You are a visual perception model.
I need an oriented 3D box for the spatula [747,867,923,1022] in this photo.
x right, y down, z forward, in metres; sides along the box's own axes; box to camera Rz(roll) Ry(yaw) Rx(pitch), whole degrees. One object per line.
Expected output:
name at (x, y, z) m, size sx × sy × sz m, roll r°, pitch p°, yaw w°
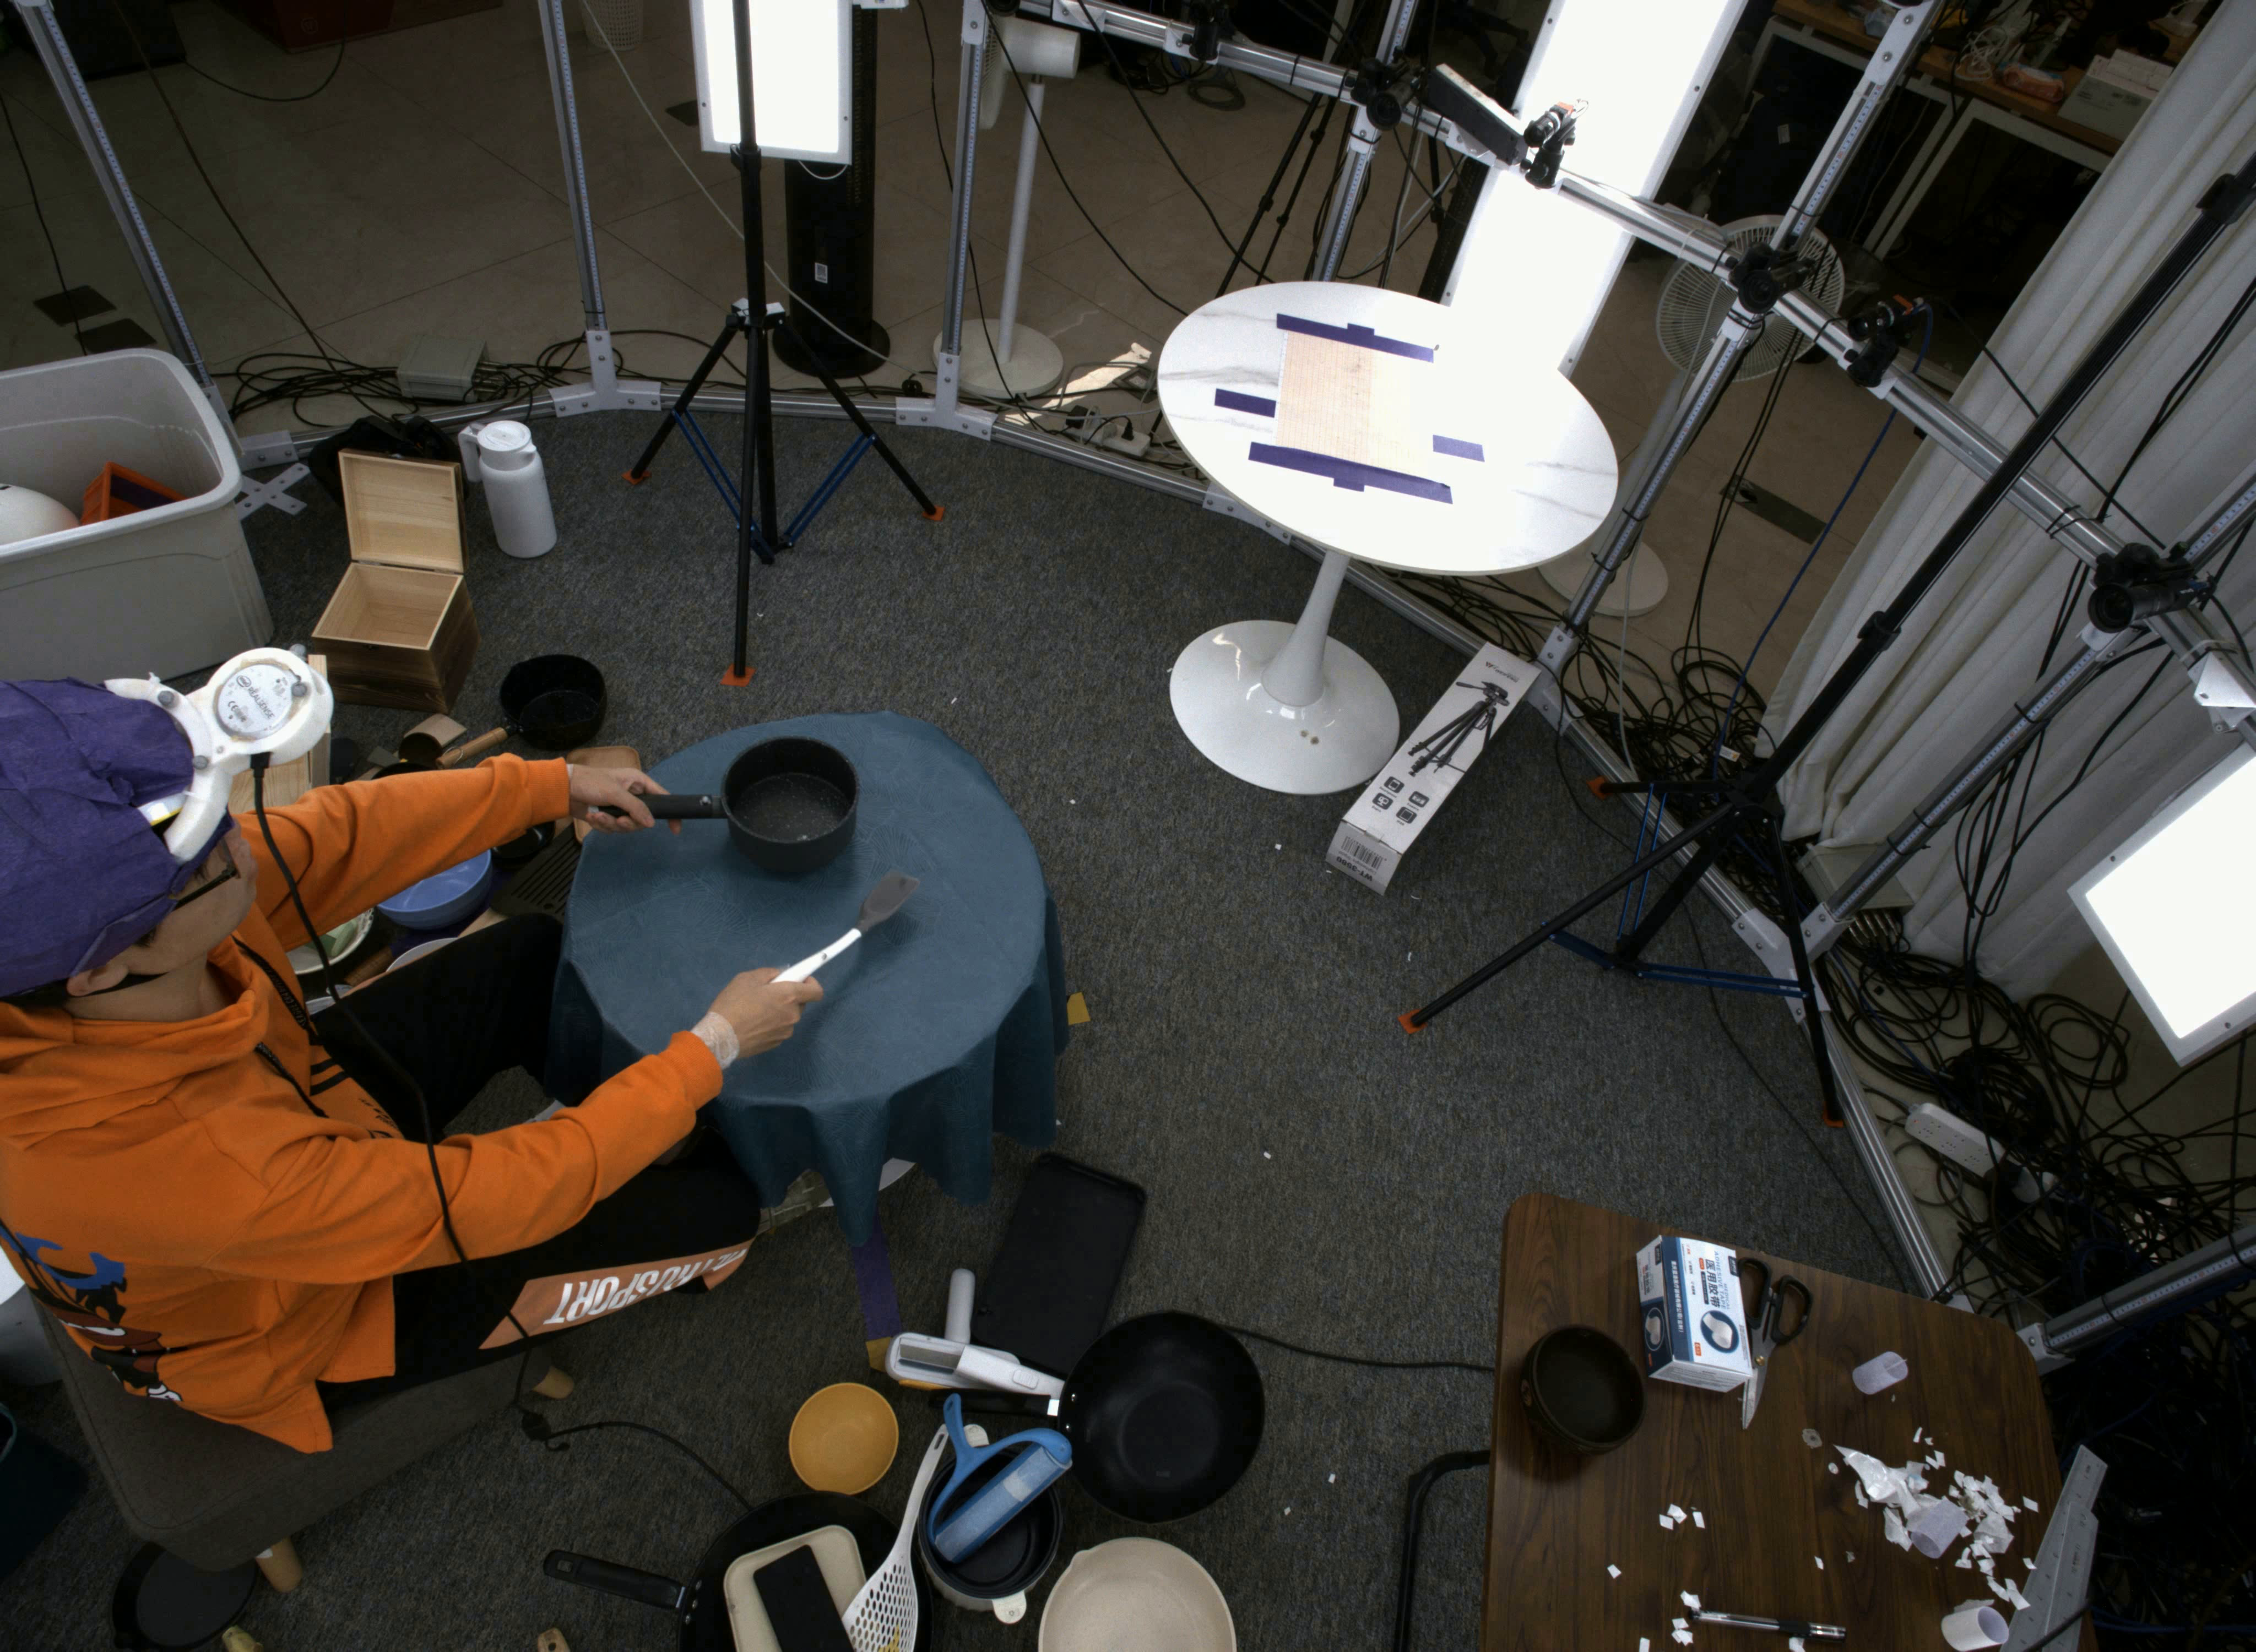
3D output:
spatula at (-0.345, 0.133, 1.543) m, size 0.057 × 0.033 × 0.287 m, roll 12°, pitch 35°, yaw 25°

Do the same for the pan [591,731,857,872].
pan at (-0.506, -0.025, 1.617) m, size 0.330 × 0.088 × 0.168 m, roll -4°, pitch 55°, yaw -19°
